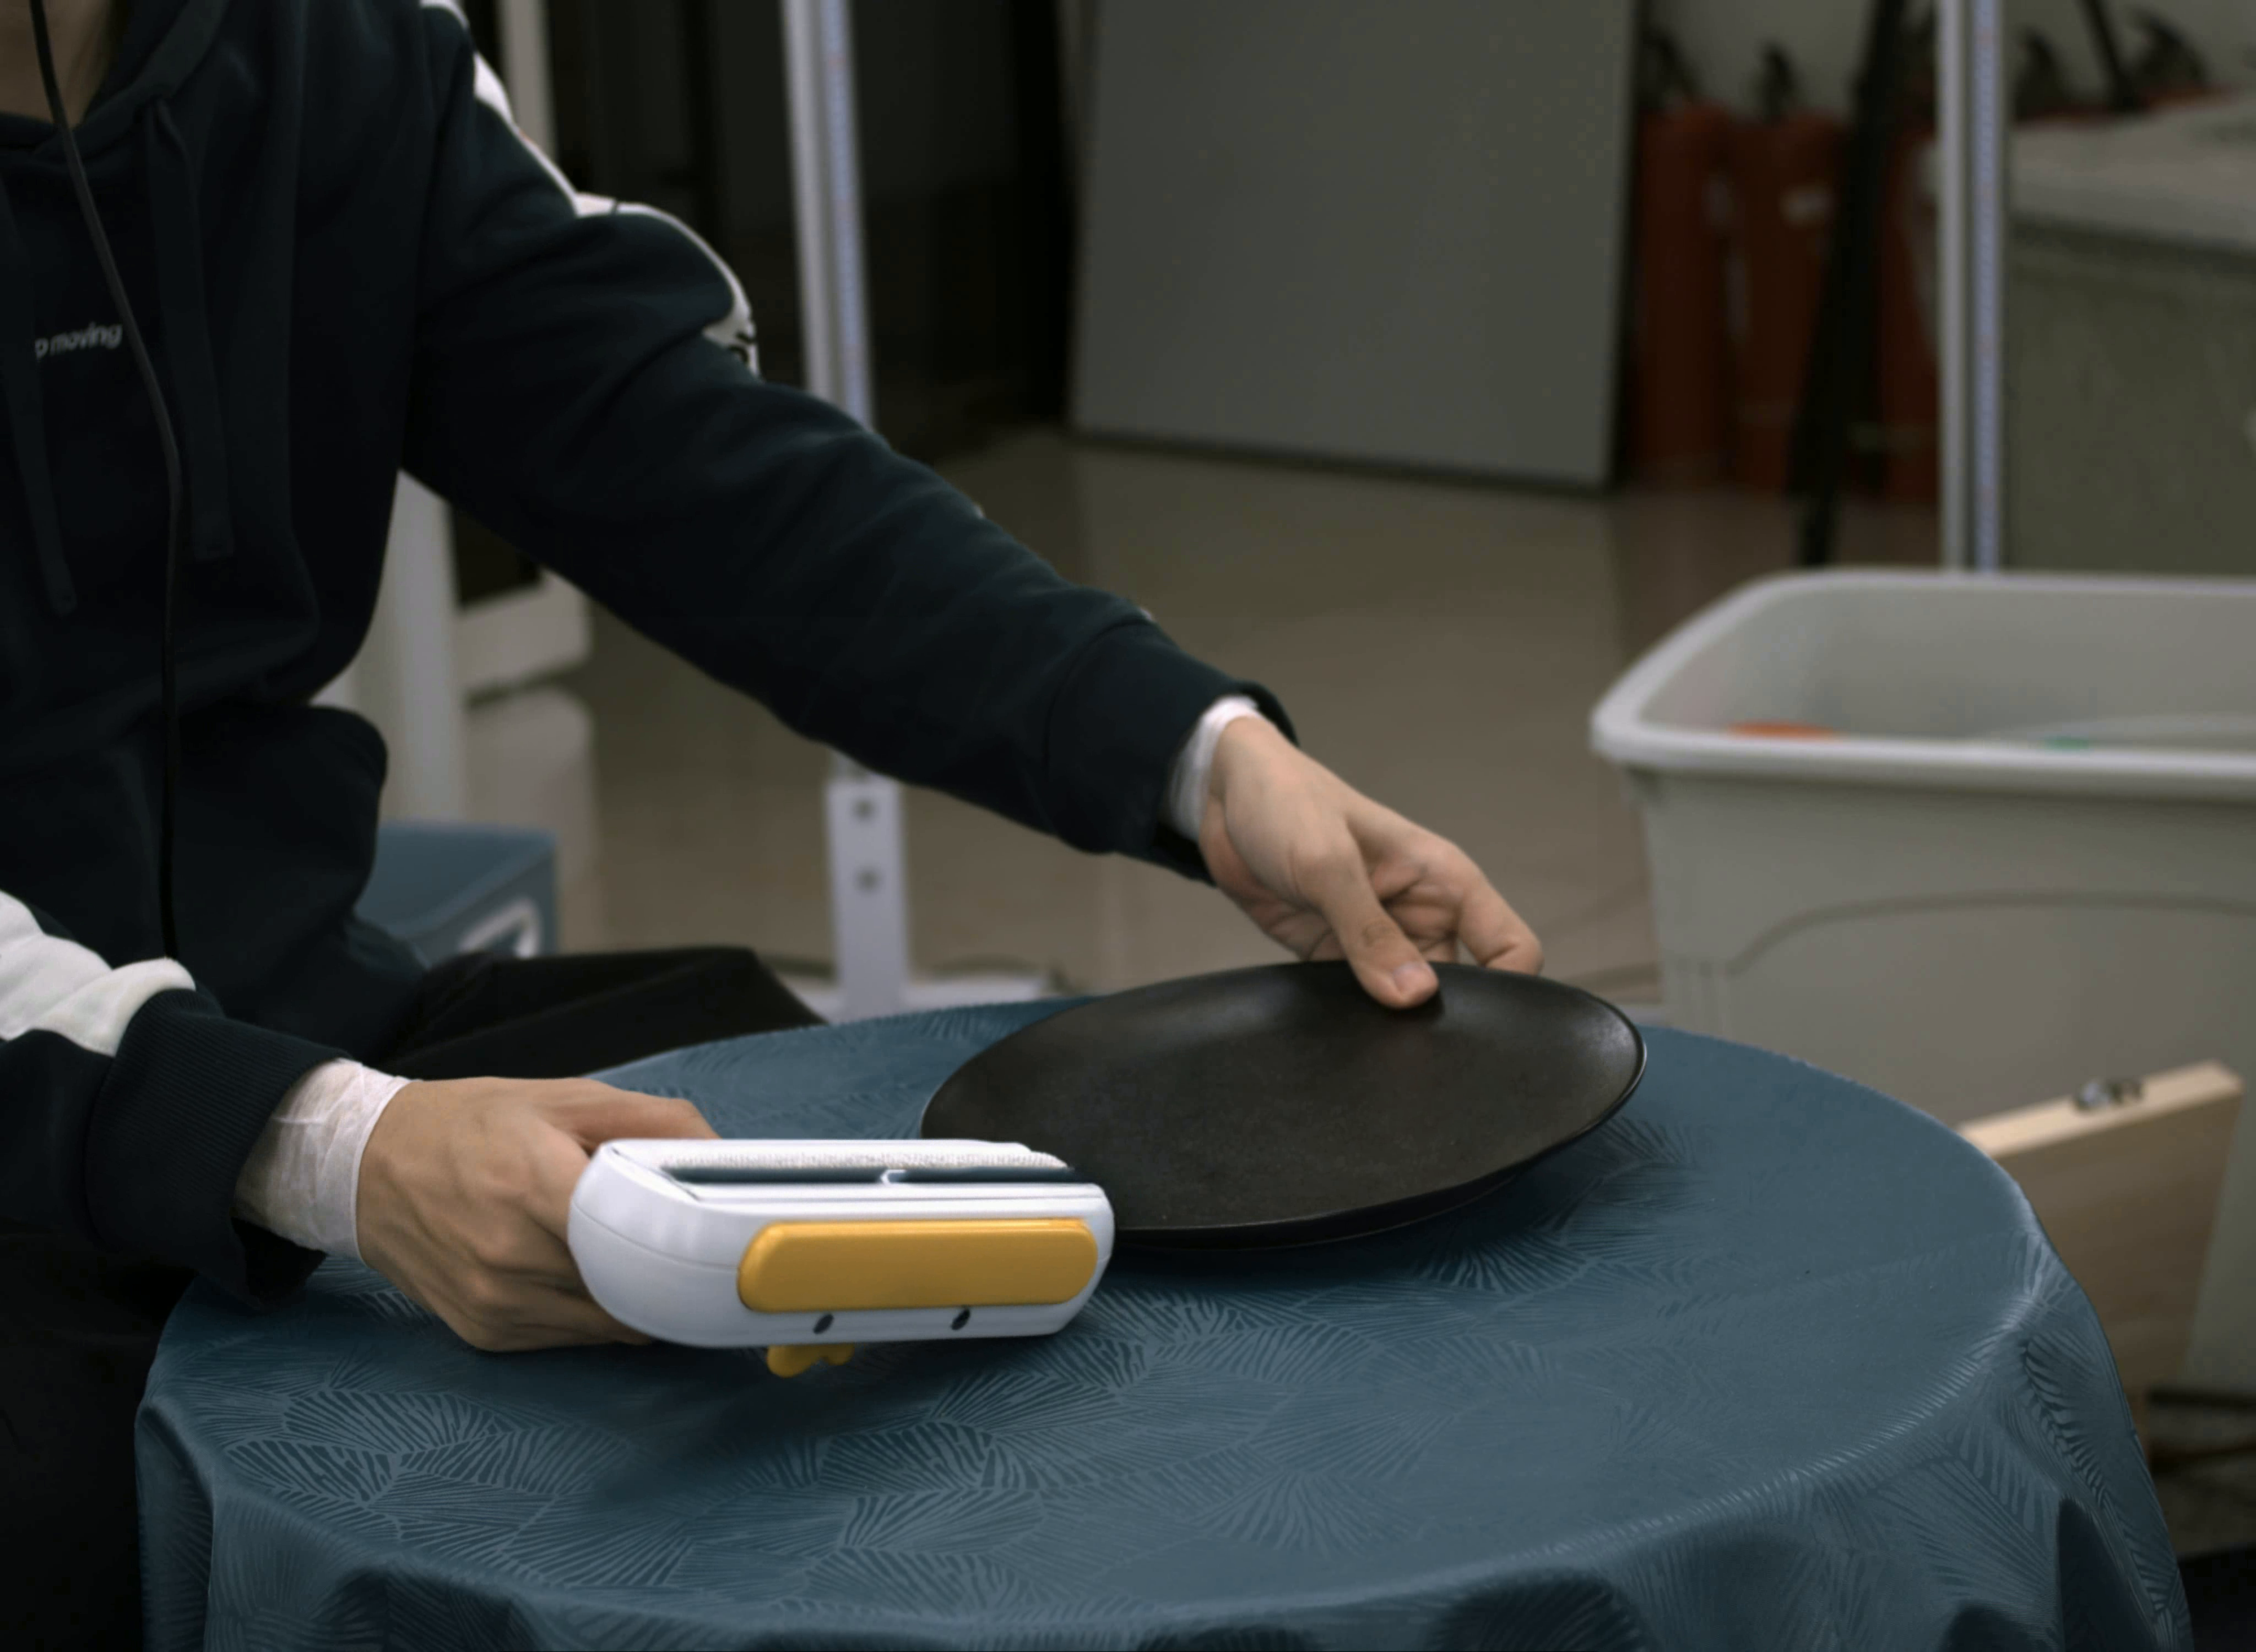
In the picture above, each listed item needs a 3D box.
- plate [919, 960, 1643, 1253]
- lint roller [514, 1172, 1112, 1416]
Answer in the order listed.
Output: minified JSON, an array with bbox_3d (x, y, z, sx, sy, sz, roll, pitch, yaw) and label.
[{"bbox_3d":[0.051,0.096,1.779,0.241,0.023,0.245,-8,17,2],"label":"plate"},{"bbox_3d":[-0.124,0.139,1.640,0.188,0.075,0.194,0,-3,-39],"label":"lint roller"}]
